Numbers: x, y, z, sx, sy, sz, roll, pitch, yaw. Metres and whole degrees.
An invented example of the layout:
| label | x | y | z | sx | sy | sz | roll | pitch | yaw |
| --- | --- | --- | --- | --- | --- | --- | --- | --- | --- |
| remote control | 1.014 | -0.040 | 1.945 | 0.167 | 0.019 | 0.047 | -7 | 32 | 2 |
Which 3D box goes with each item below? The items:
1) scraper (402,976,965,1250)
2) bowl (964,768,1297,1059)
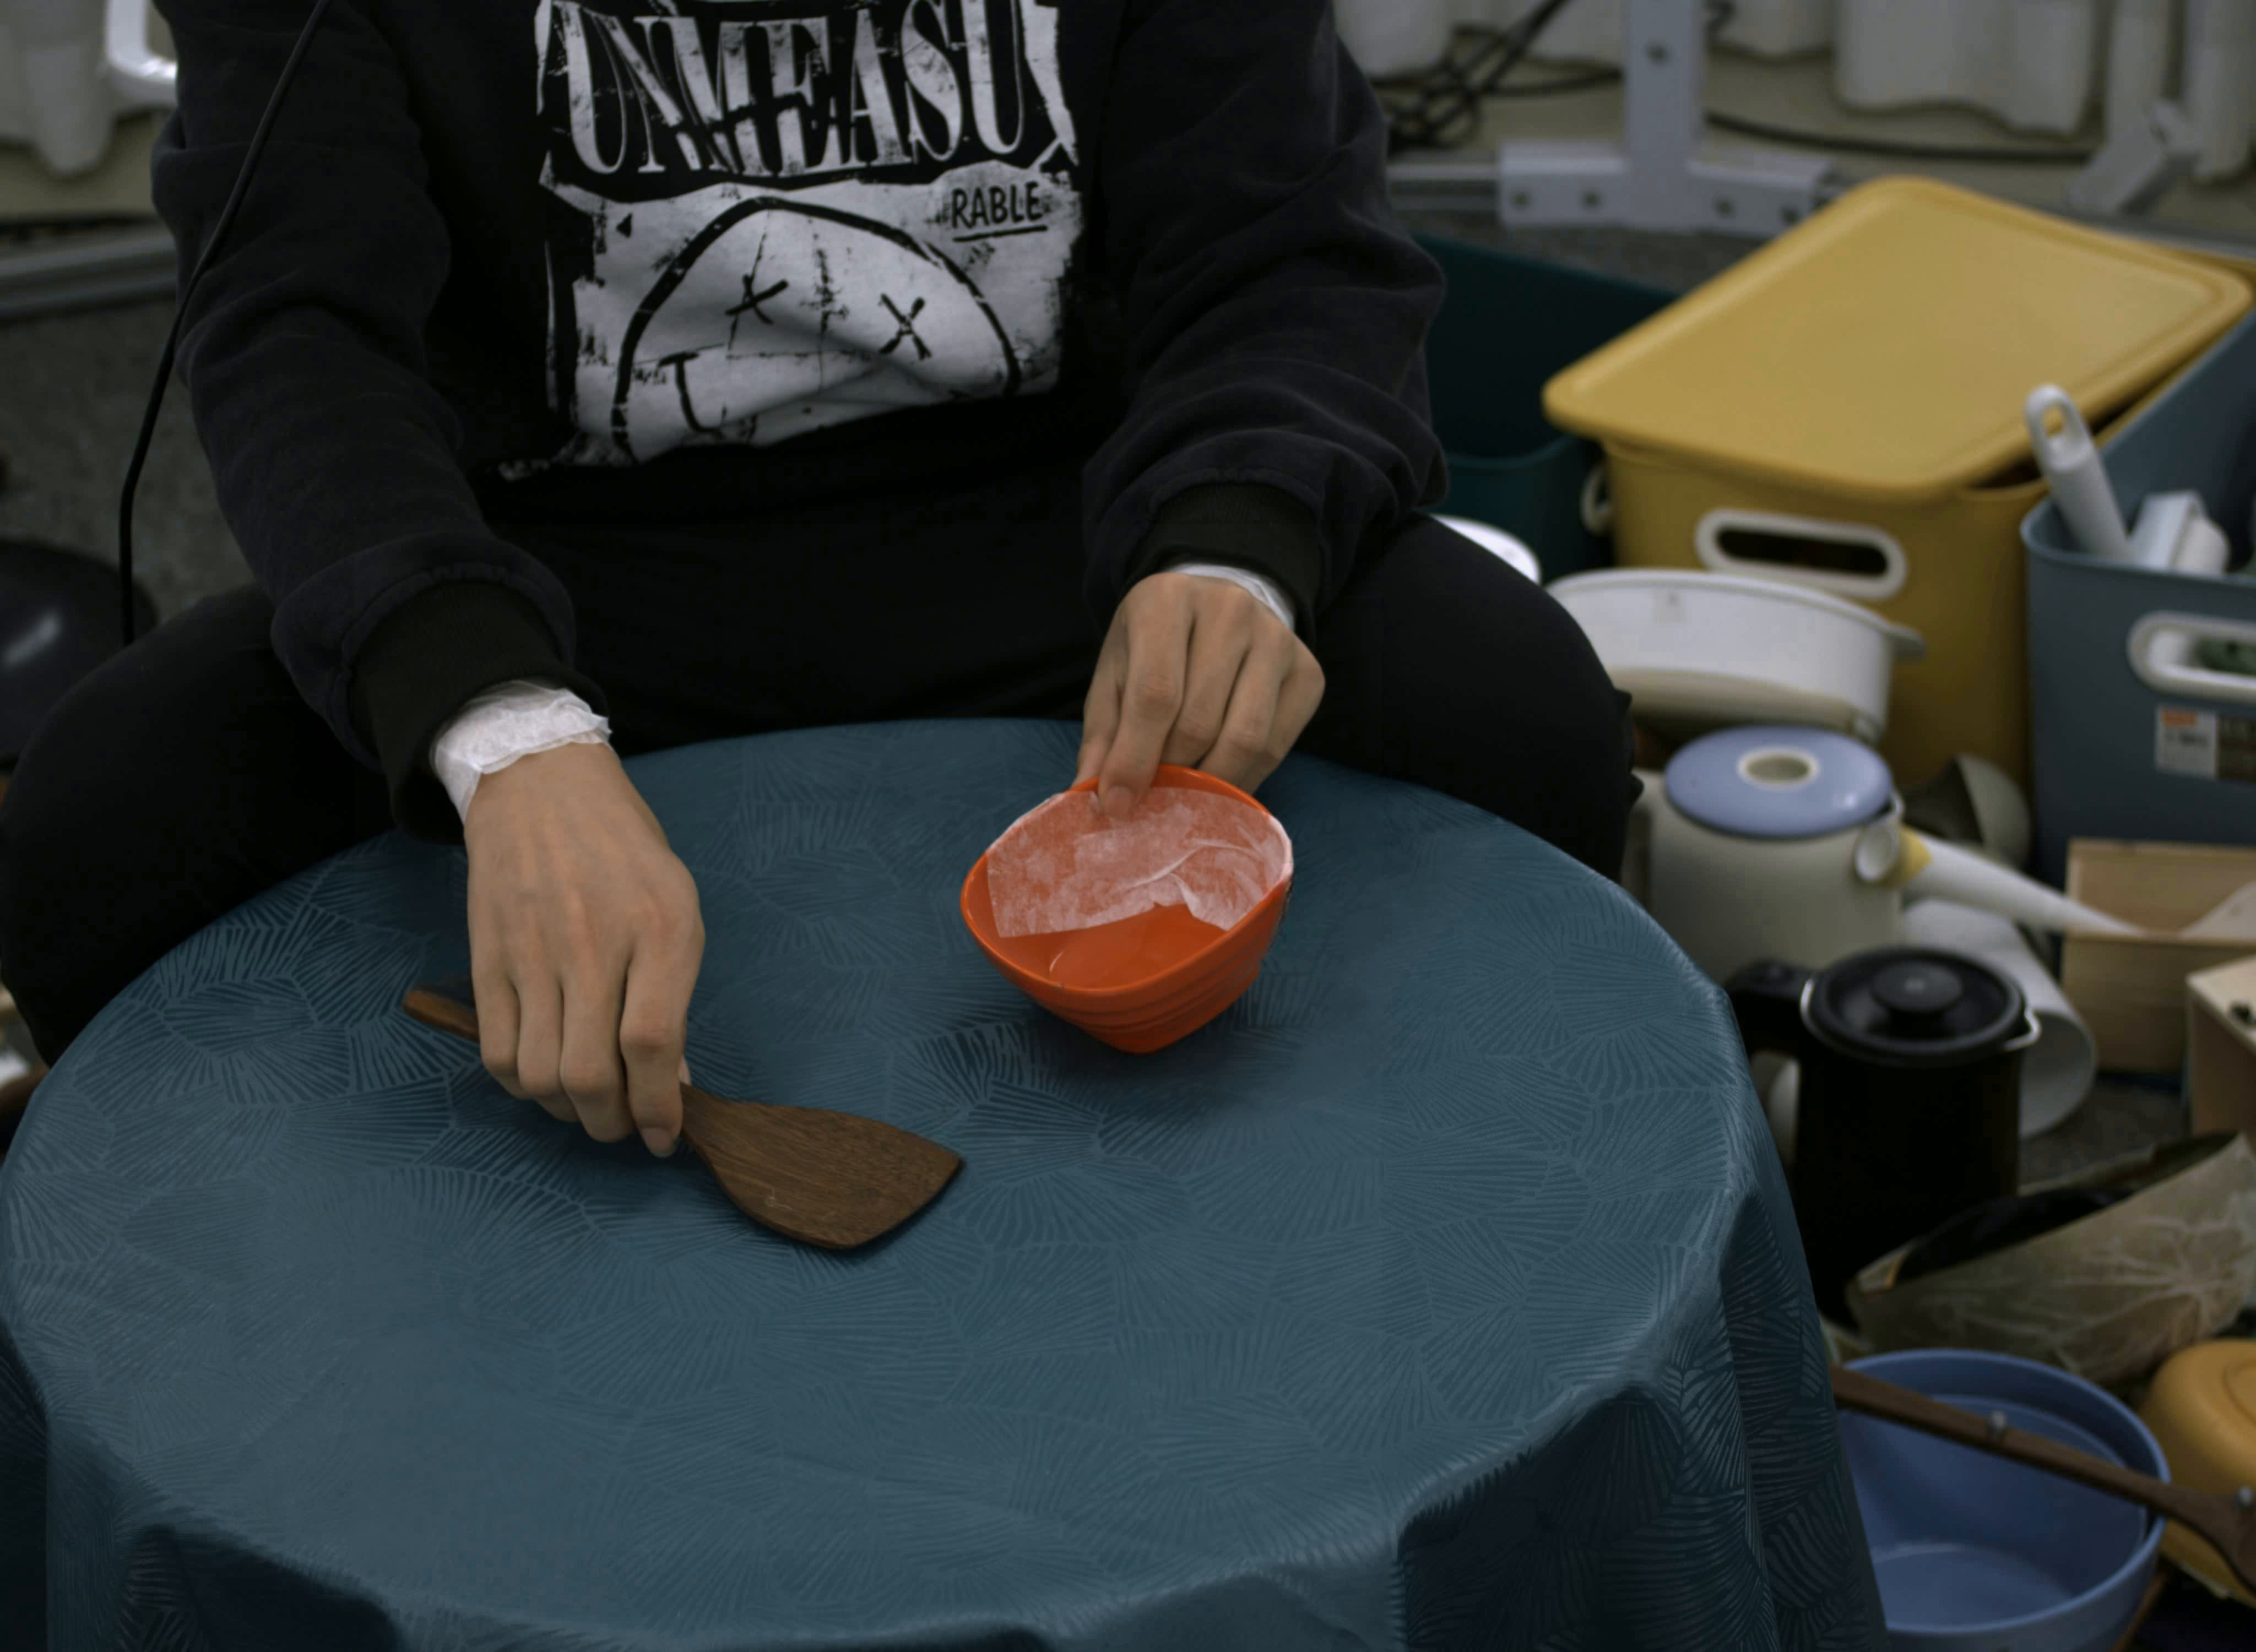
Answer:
| label | x | y | z | sx | sy | sz | roll | pitch | yaw |
| --- | --- | --- | --- | --- | --- | --- | --- | --- | --- |
| scraper | -0.156 | 0.093 | 1.896 | 0.211 | 0.010 | 0.077 | 22 | 33 | 24 |
| bowl | 0.006 | 0.037 | 1.956 | 0.118 | 0.051 | 0.121 | -11 | 38 | 9 |
